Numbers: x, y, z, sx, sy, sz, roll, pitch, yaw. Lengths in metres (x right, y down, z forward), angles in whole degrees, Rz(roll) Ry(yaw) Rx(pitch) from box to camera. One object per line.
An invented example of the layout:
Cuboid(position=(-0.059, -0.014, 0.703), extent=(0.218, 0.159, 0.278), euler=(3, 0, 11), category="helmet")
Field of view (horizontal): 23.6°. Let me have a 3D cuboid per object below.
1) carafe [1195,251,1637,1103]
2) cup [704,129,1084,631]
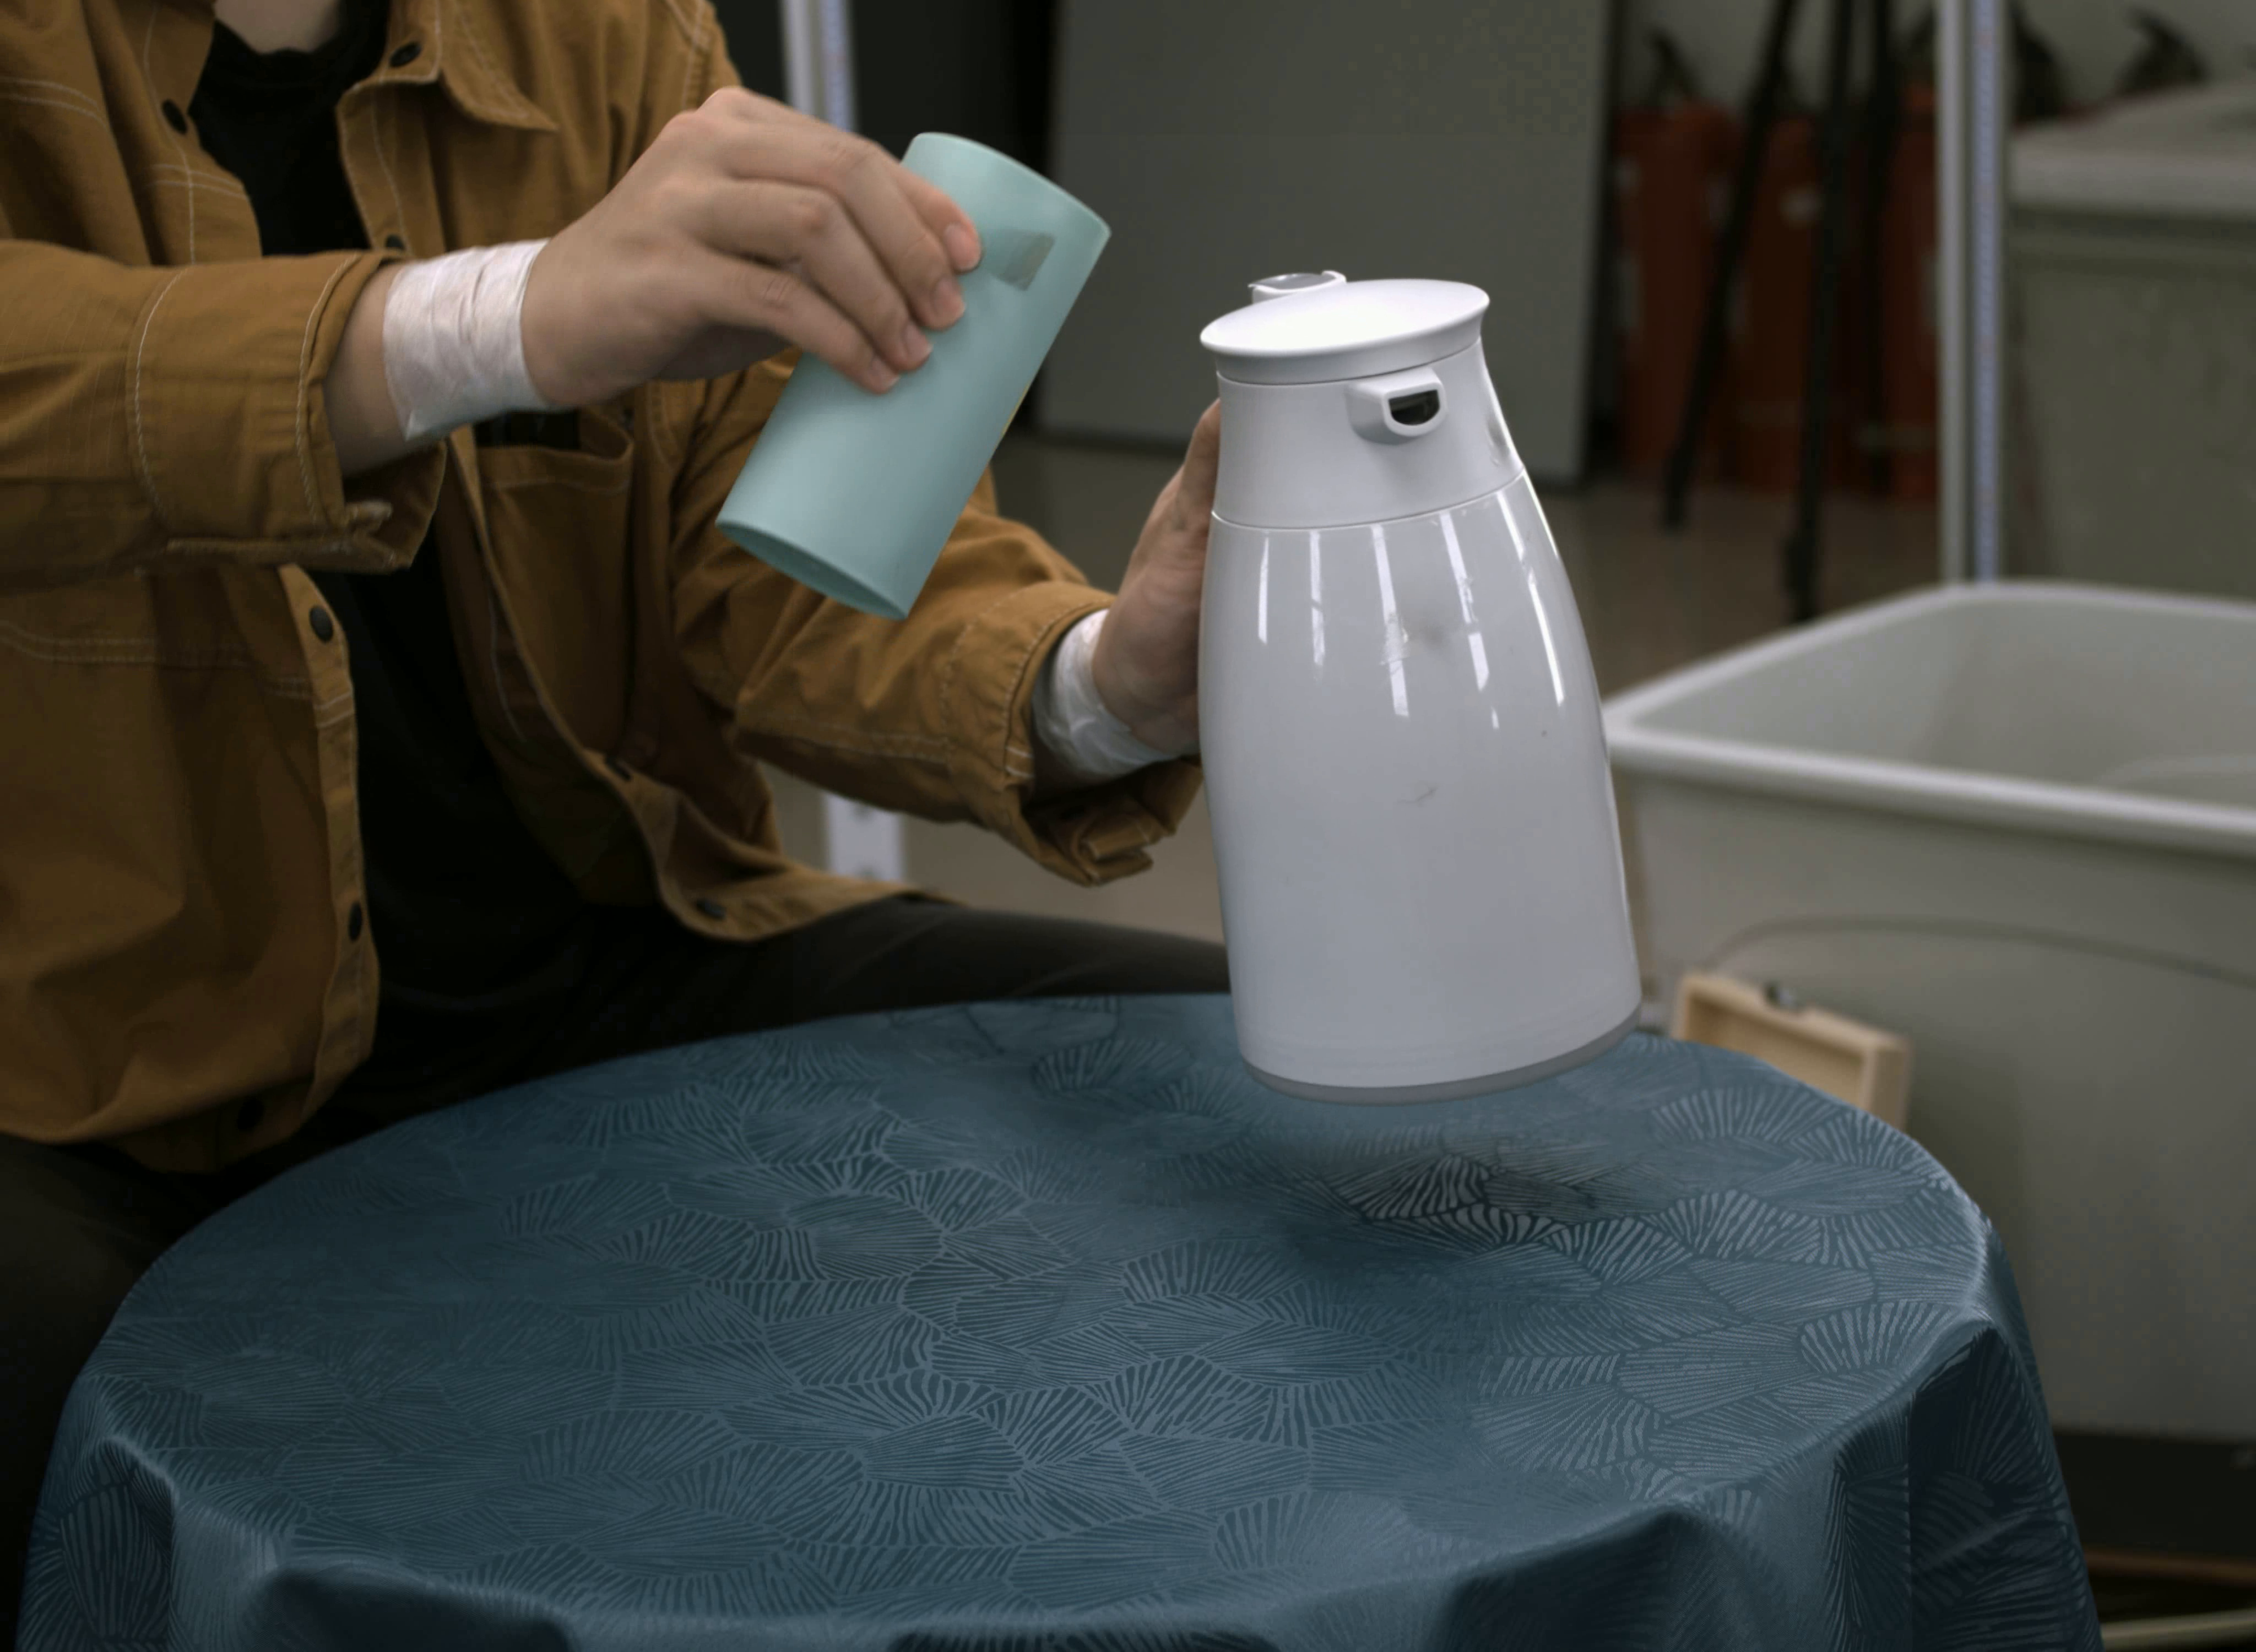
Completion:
Cuboid(position=(0.076, -0.056, 1.722), extent=(0.130, 0.251, 0.169), euler=(-13, 15, -13), category="carafe")
Cuboid(position=(-0.069, -0.131, 1.582), extent=(0.066, 0.133, 0.067), euler=(25, -8, 3), category="cup")
